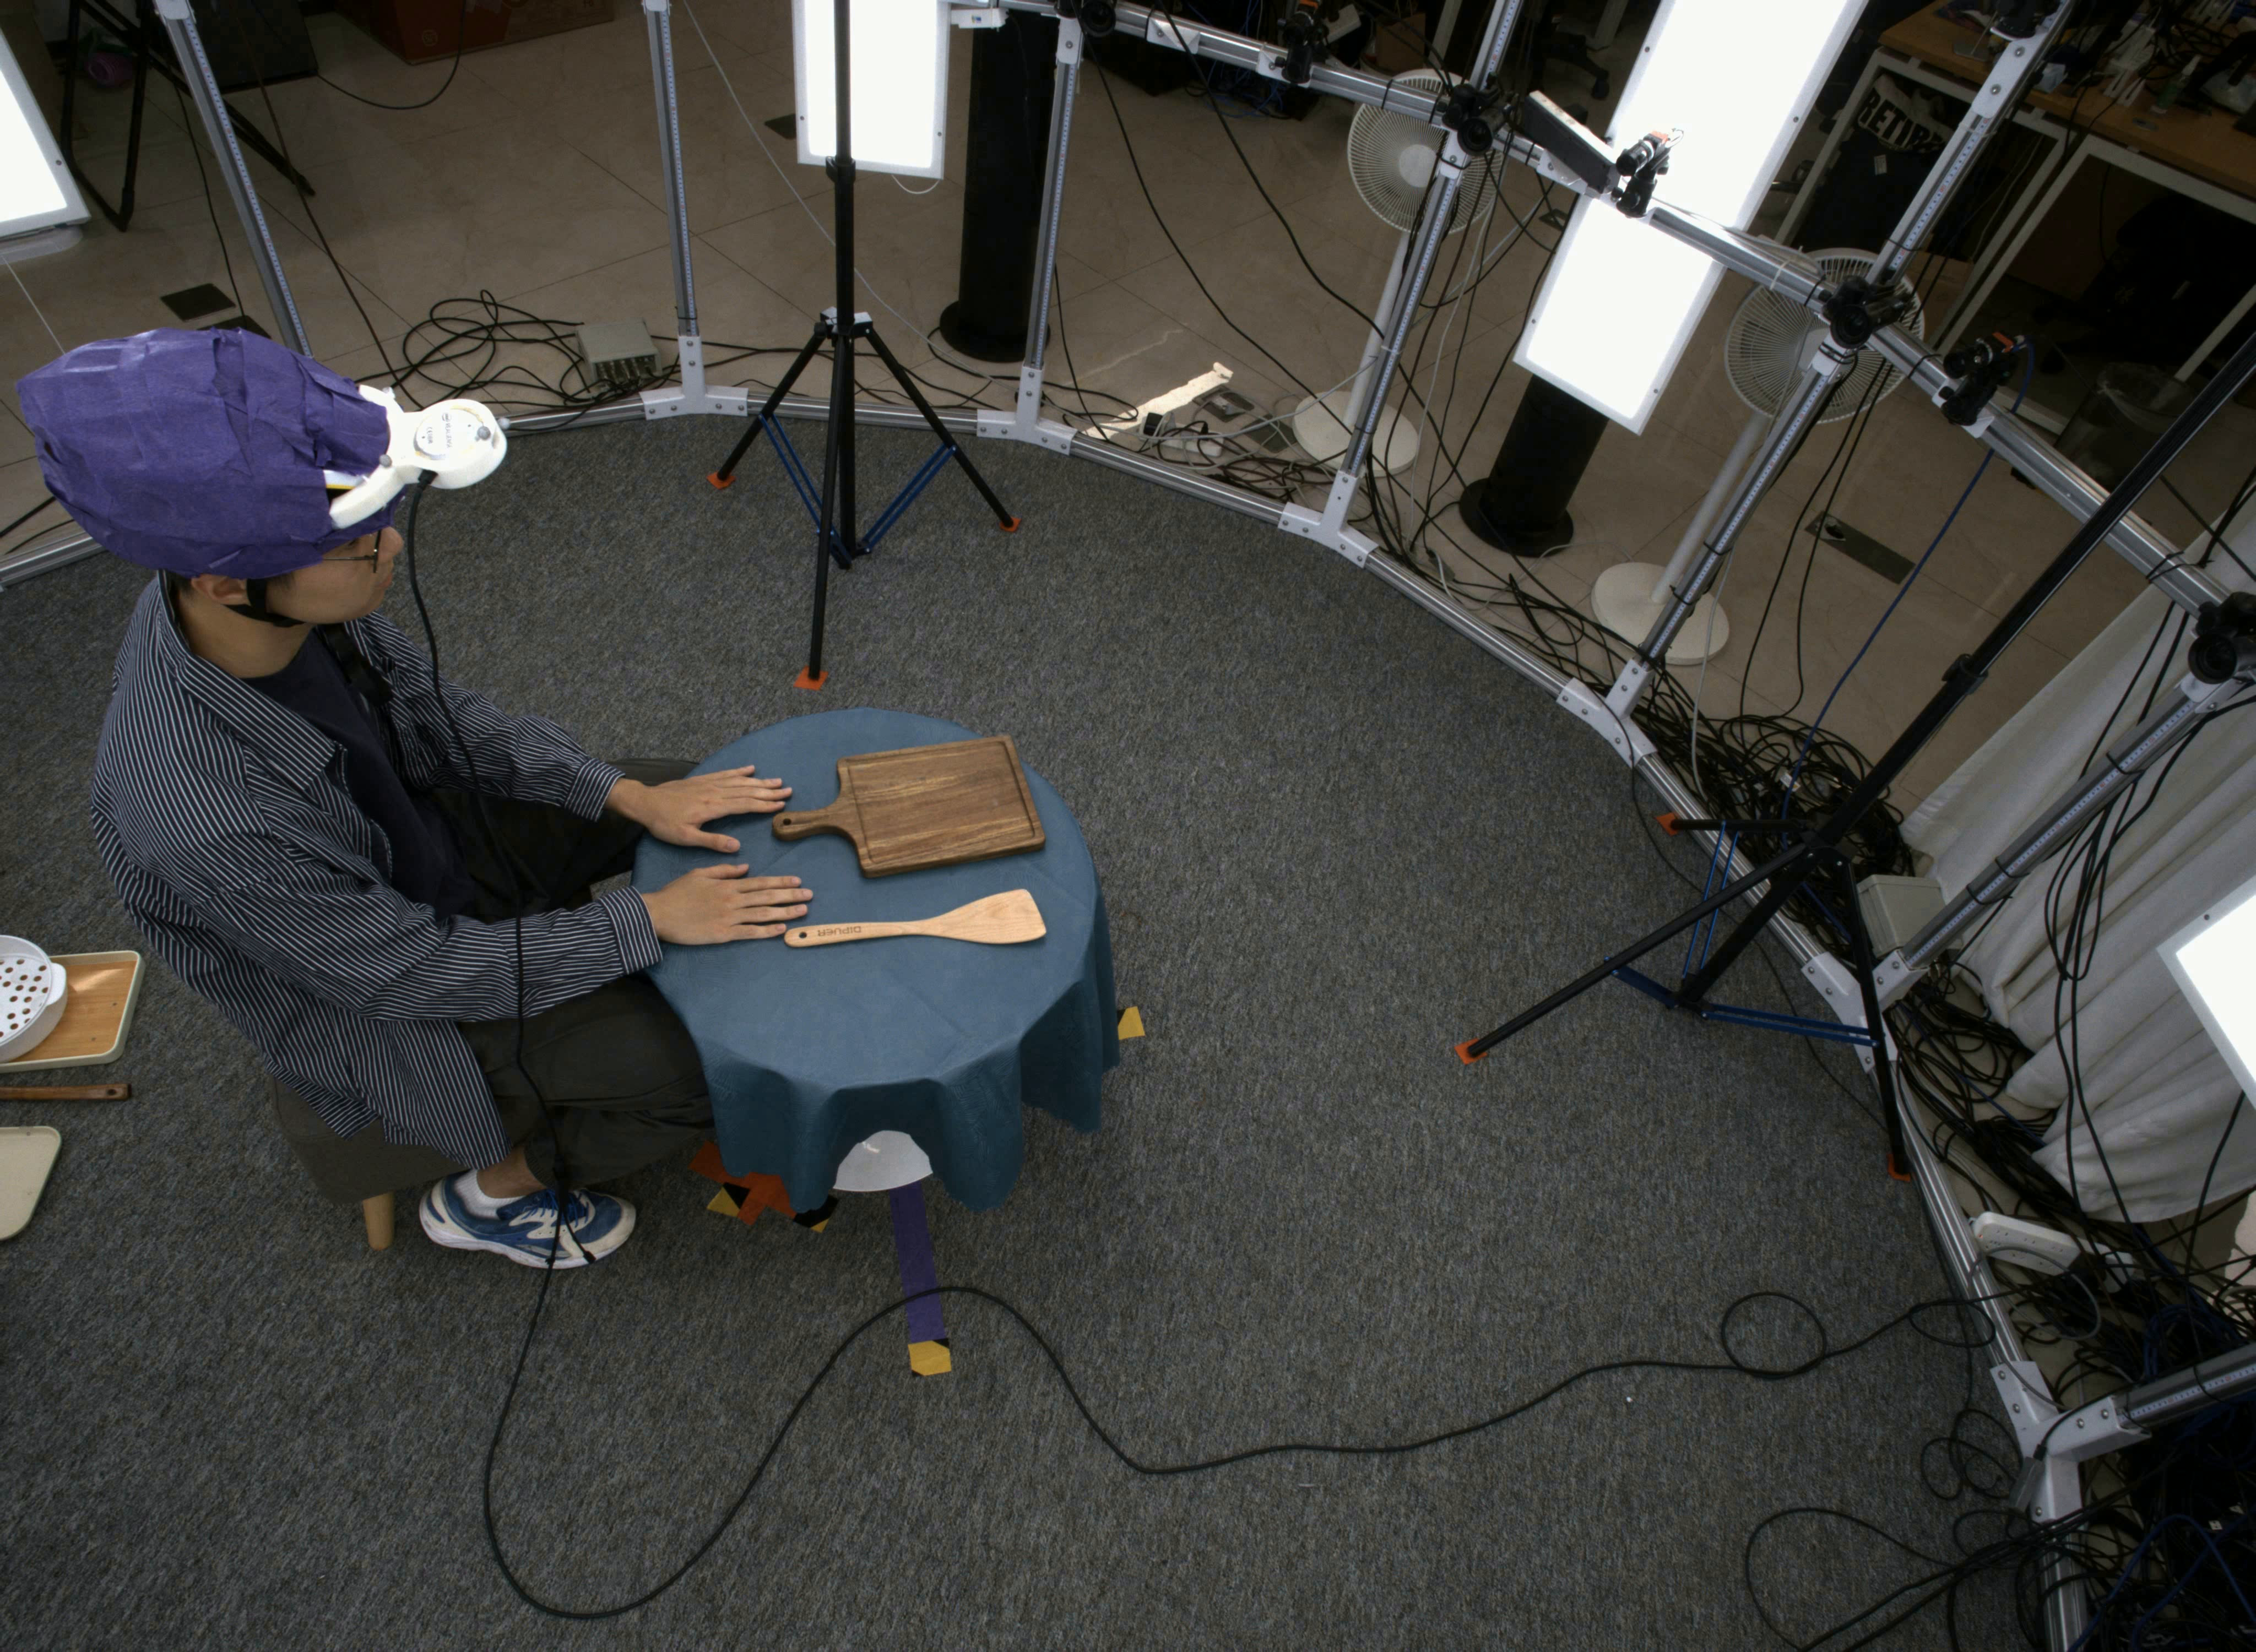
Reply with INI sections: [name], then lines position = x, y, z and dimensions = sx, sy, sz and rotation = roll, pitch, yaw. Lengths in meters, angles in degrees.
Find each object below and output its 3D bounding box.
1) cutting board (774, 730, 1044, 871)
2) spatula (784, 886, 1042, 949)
[cutting board]
position = -0.306, -0.034, 1.781
dimensions = 0.353, 0.023, 0.196
rotation = -9, 56, -19
[spatula]
position = -0.276, 0.124, 1.674
dimensions = 0.328, 0.017, 0.078
rotation = -5, 55, -17
